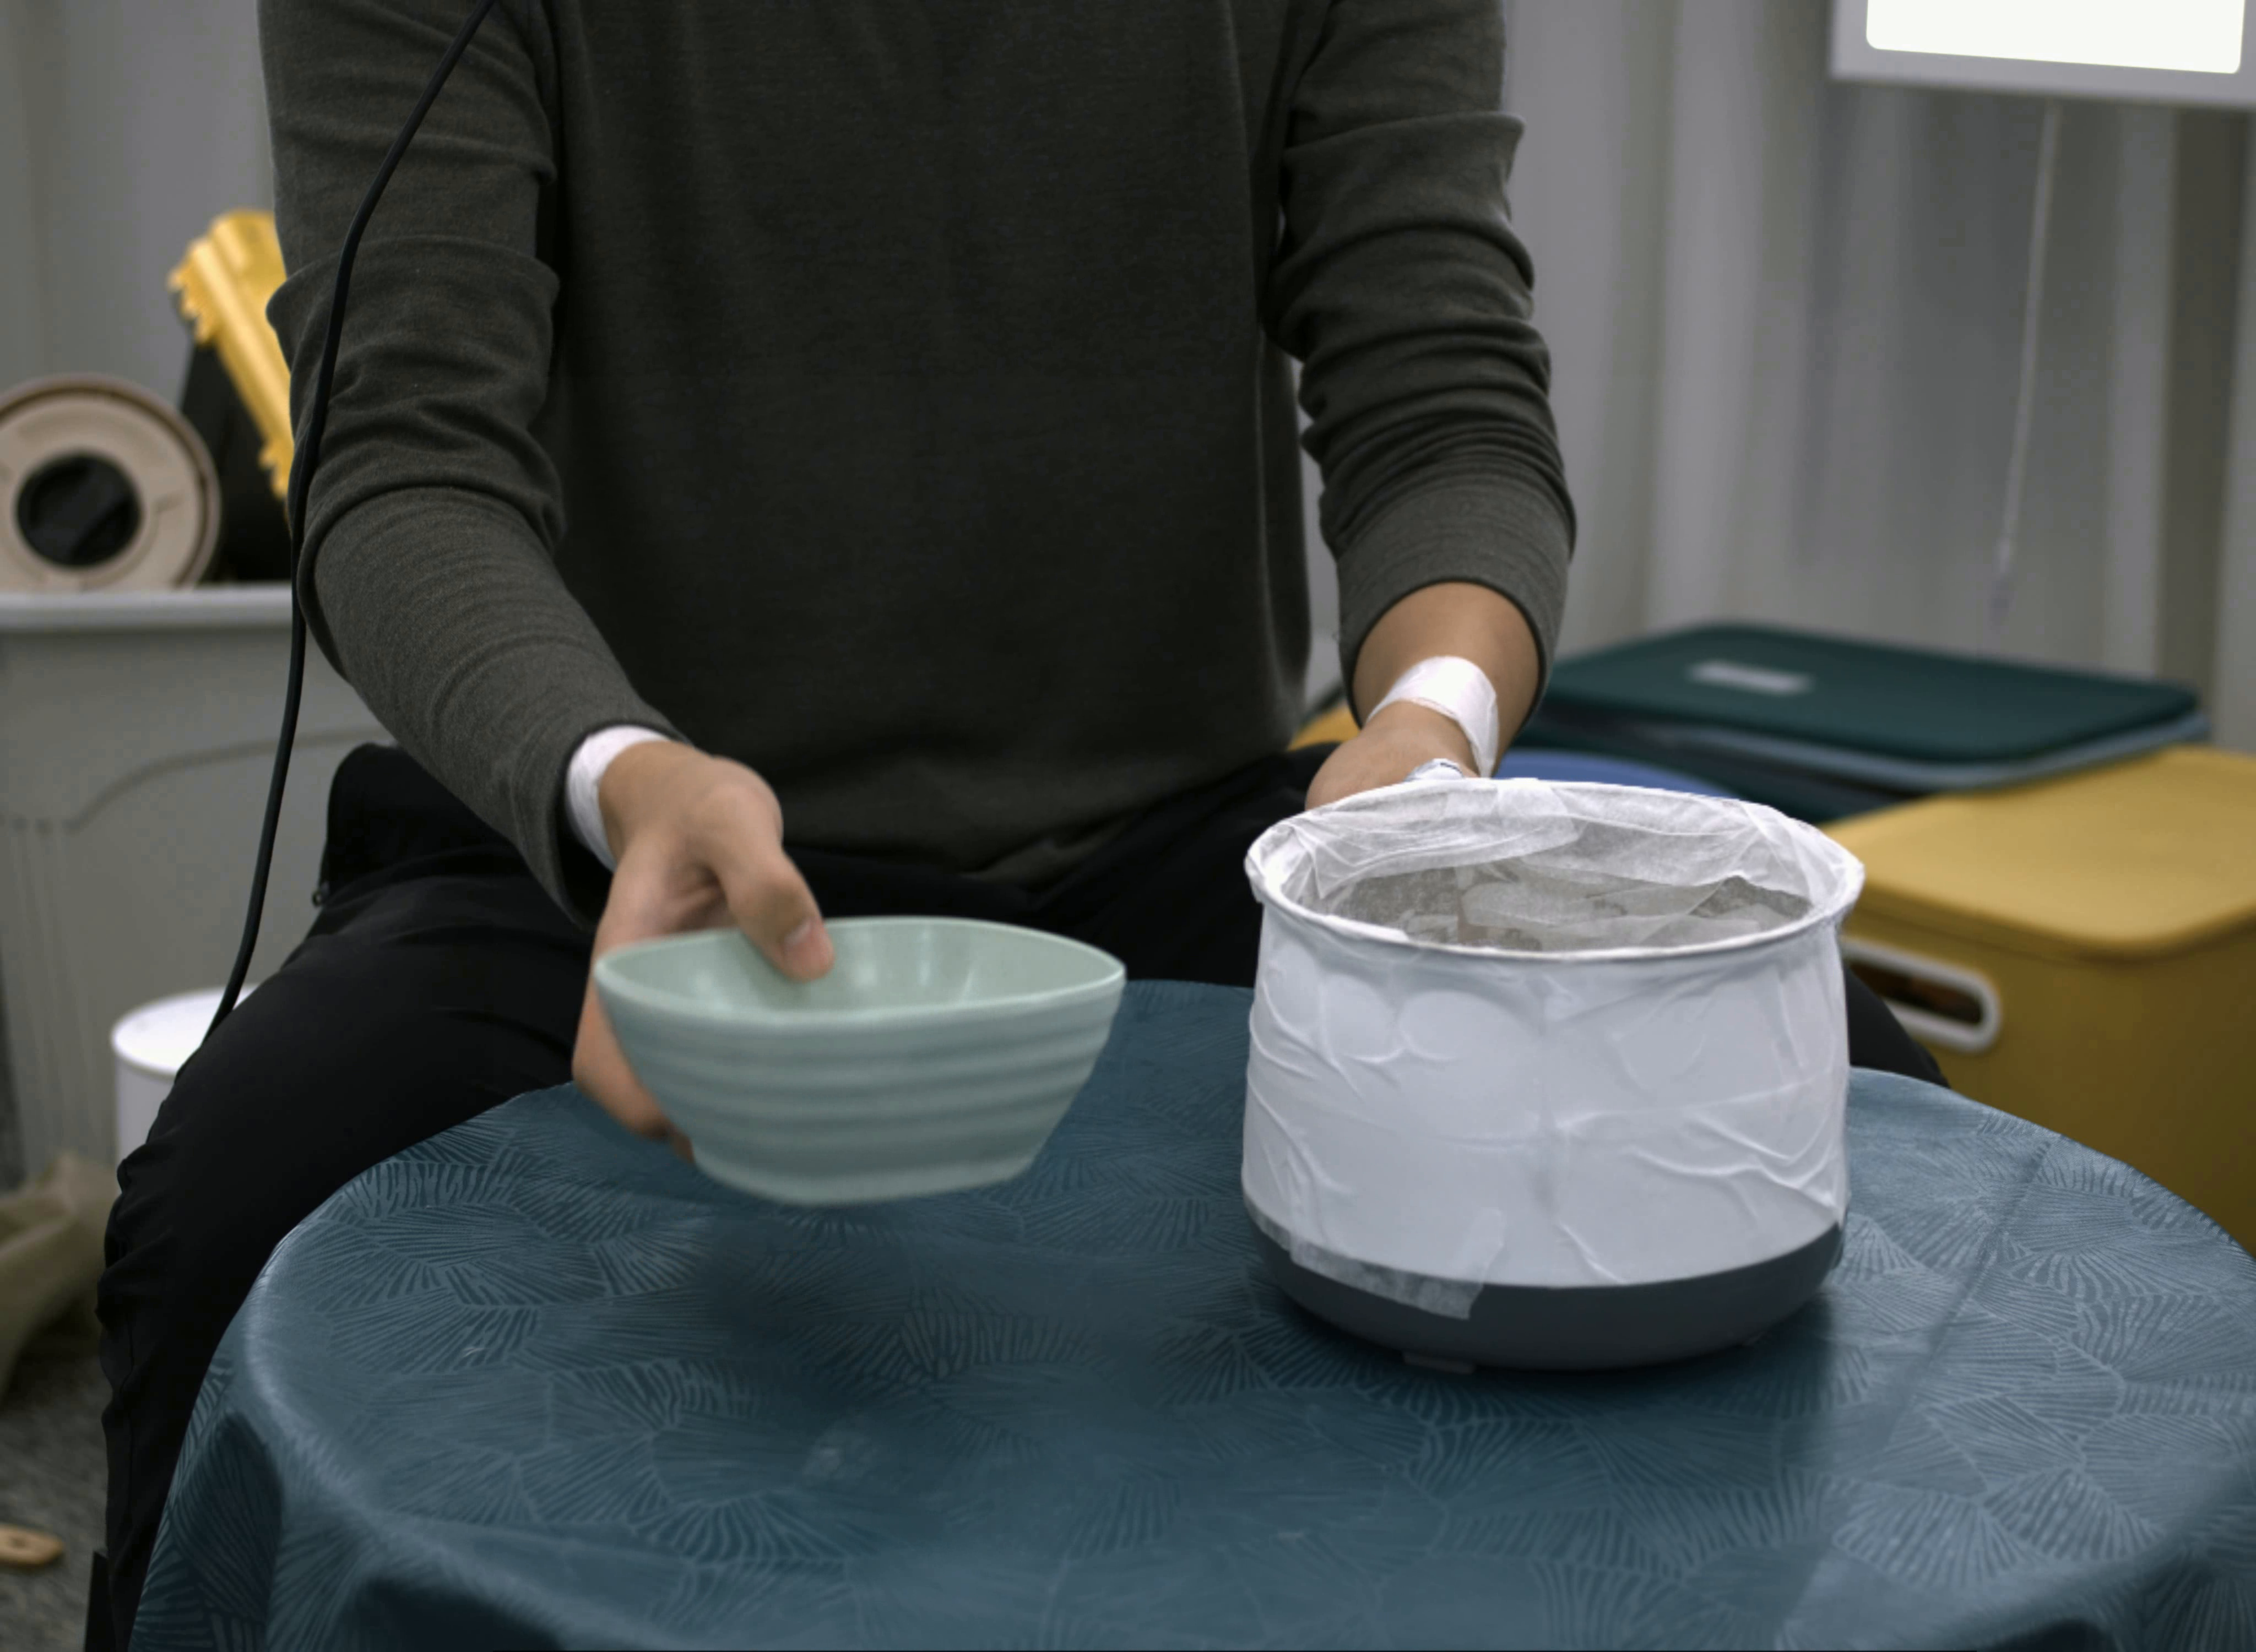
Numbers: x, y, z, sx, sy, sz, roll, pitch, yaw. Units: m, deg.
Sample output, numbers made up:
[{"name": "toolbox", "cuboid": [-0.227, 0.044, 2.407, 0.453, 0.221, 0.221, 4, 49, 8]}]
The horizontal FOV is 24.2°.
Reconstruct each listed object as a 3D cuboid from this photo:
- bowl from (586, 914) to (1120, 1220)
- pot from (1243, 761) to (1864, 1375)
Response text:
[{"name": "bowl", "cuboid": [-0.075, 0.068, 1.455, 0.151, 0.059, 0.151, -1, 11, 1]}, {"name": "pot", "cuboid": [0.113, 0.065, 1.545, 0.179, 0.138, 0.231, -5, 16, -17]}]
